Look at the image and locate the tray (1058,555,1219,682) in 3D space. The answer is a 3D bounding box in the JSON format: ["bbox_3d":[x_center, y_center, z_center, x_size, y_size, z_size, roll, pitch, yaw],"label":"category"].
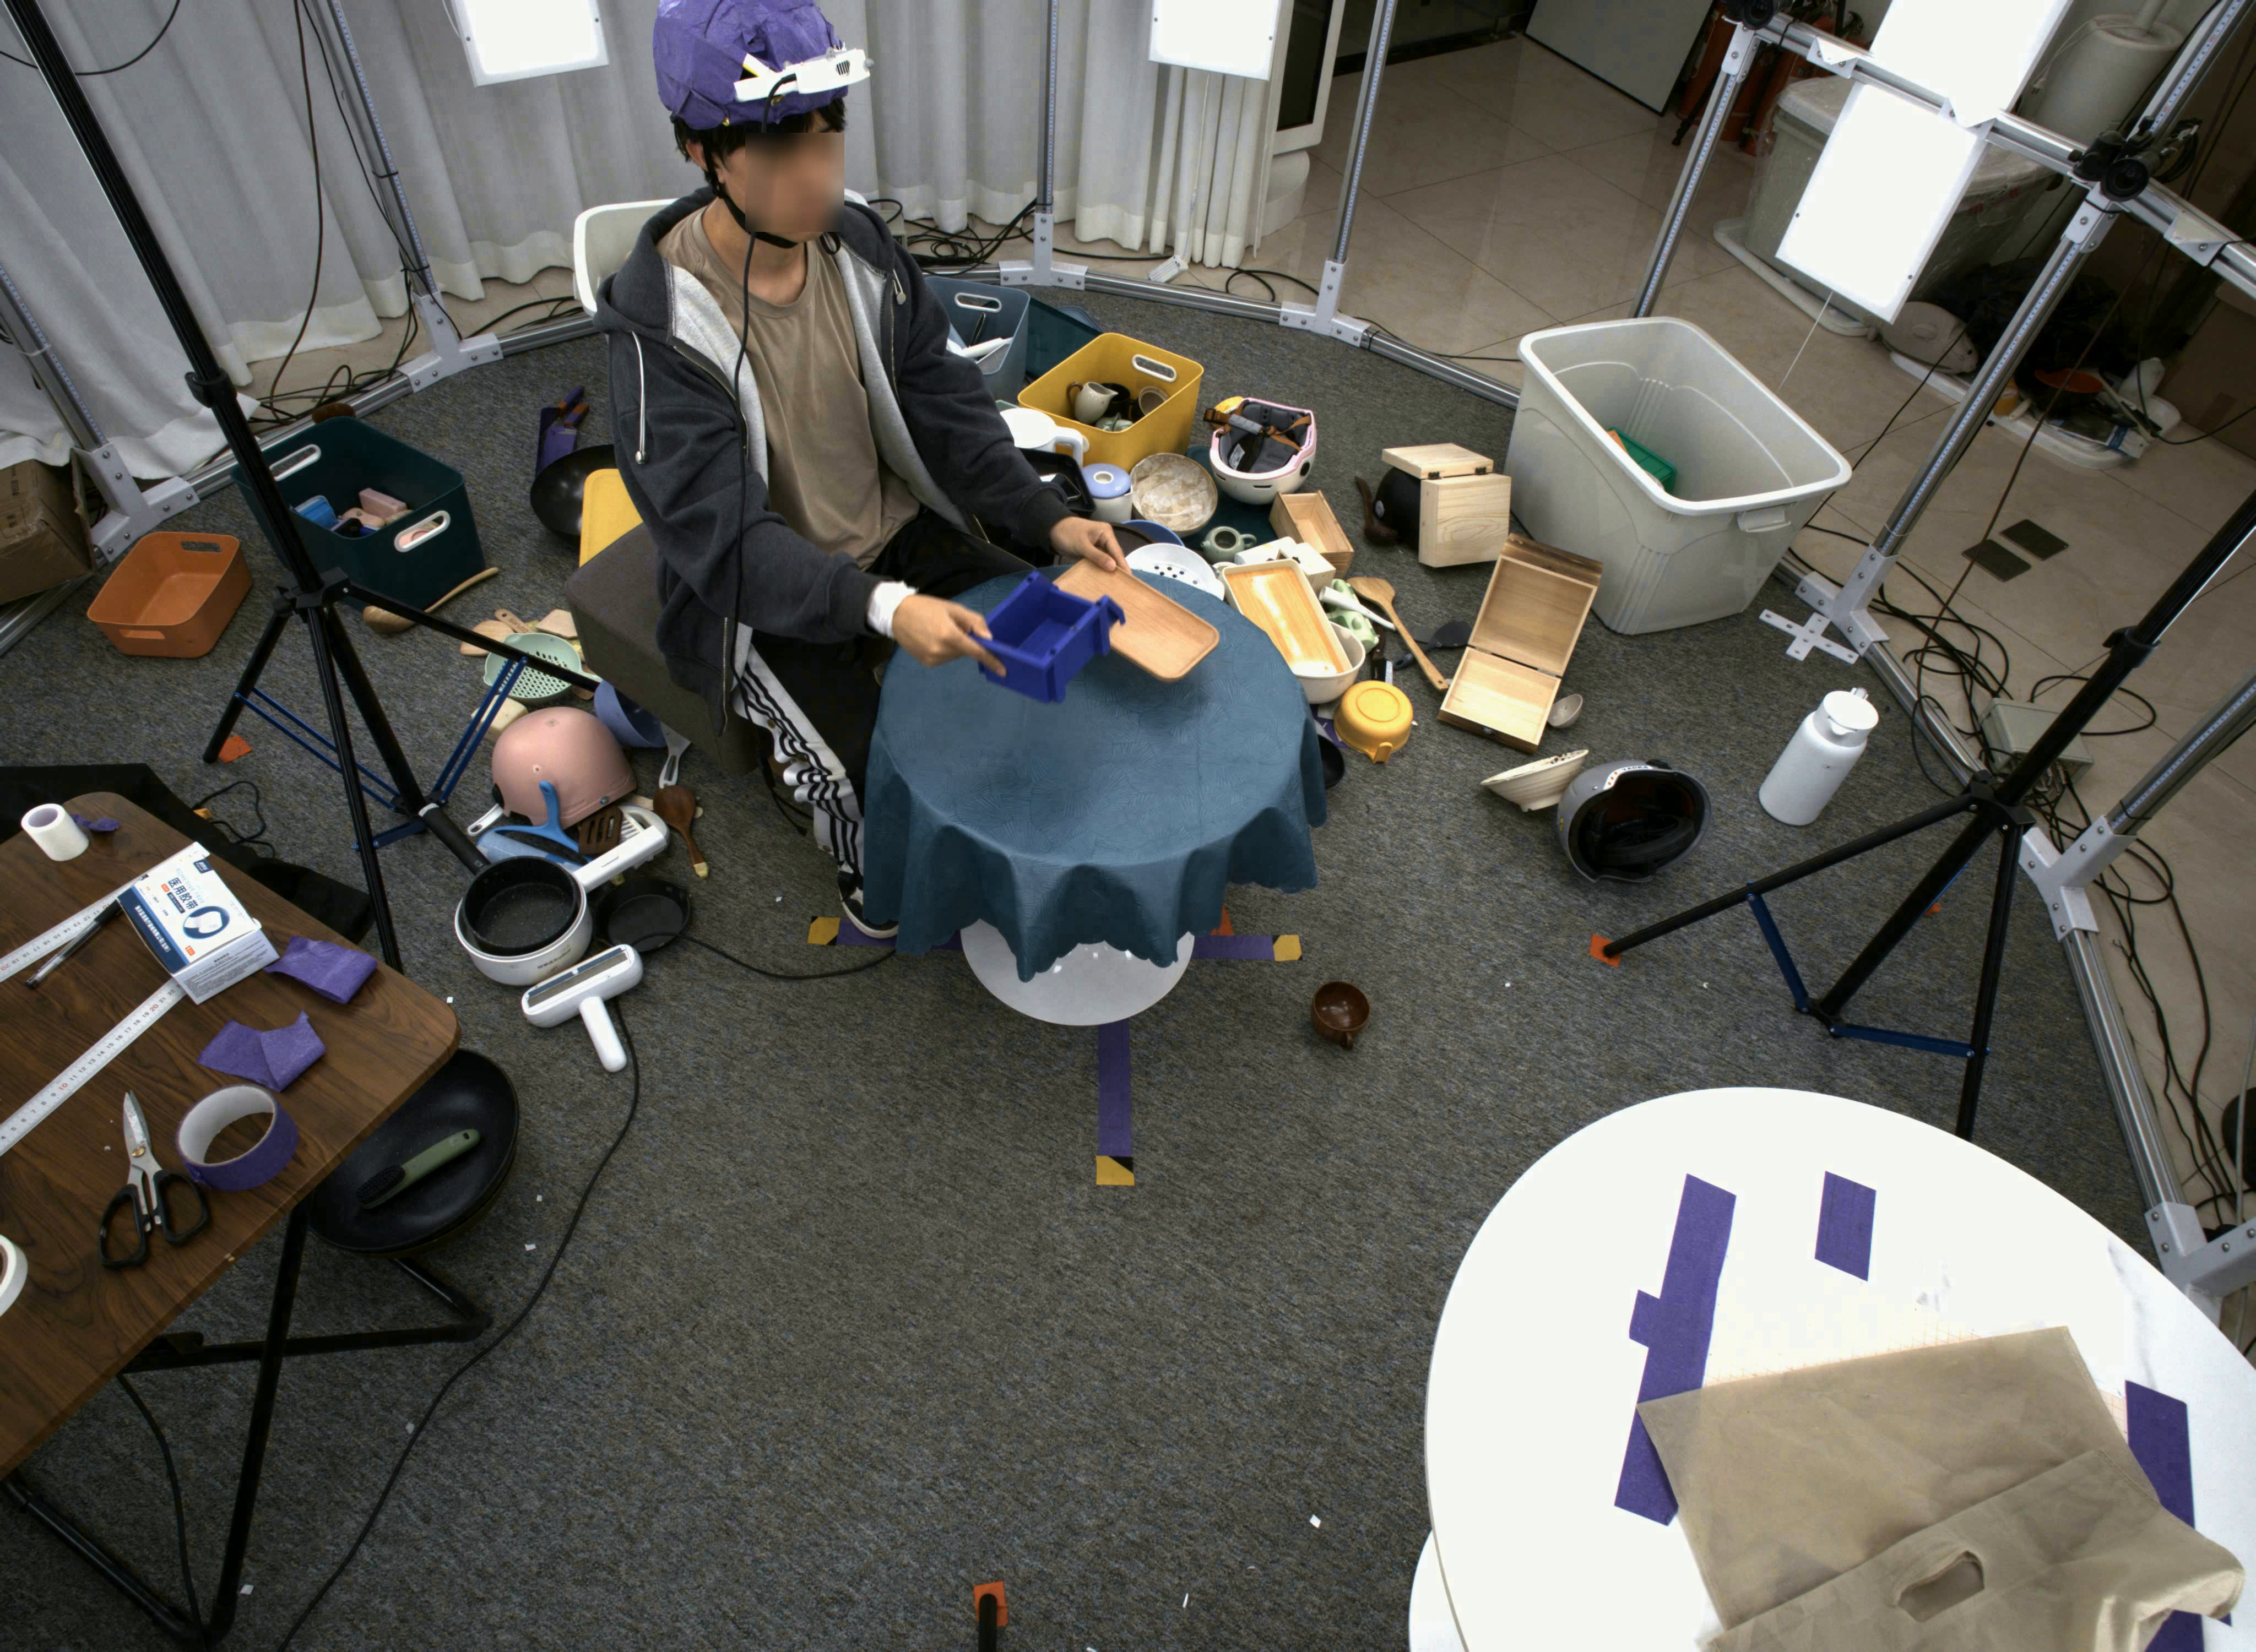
[{"bbox_3d":[0.003,-0.298,1.835,0.254,0.022,0.132,36,57,22],"label":"tray"}]

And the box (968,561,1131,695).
[{"bbox_3d":[-0.098,-0.258,1.641,0.126,0.080,0.182,24,56,25],"label":"box"}]
